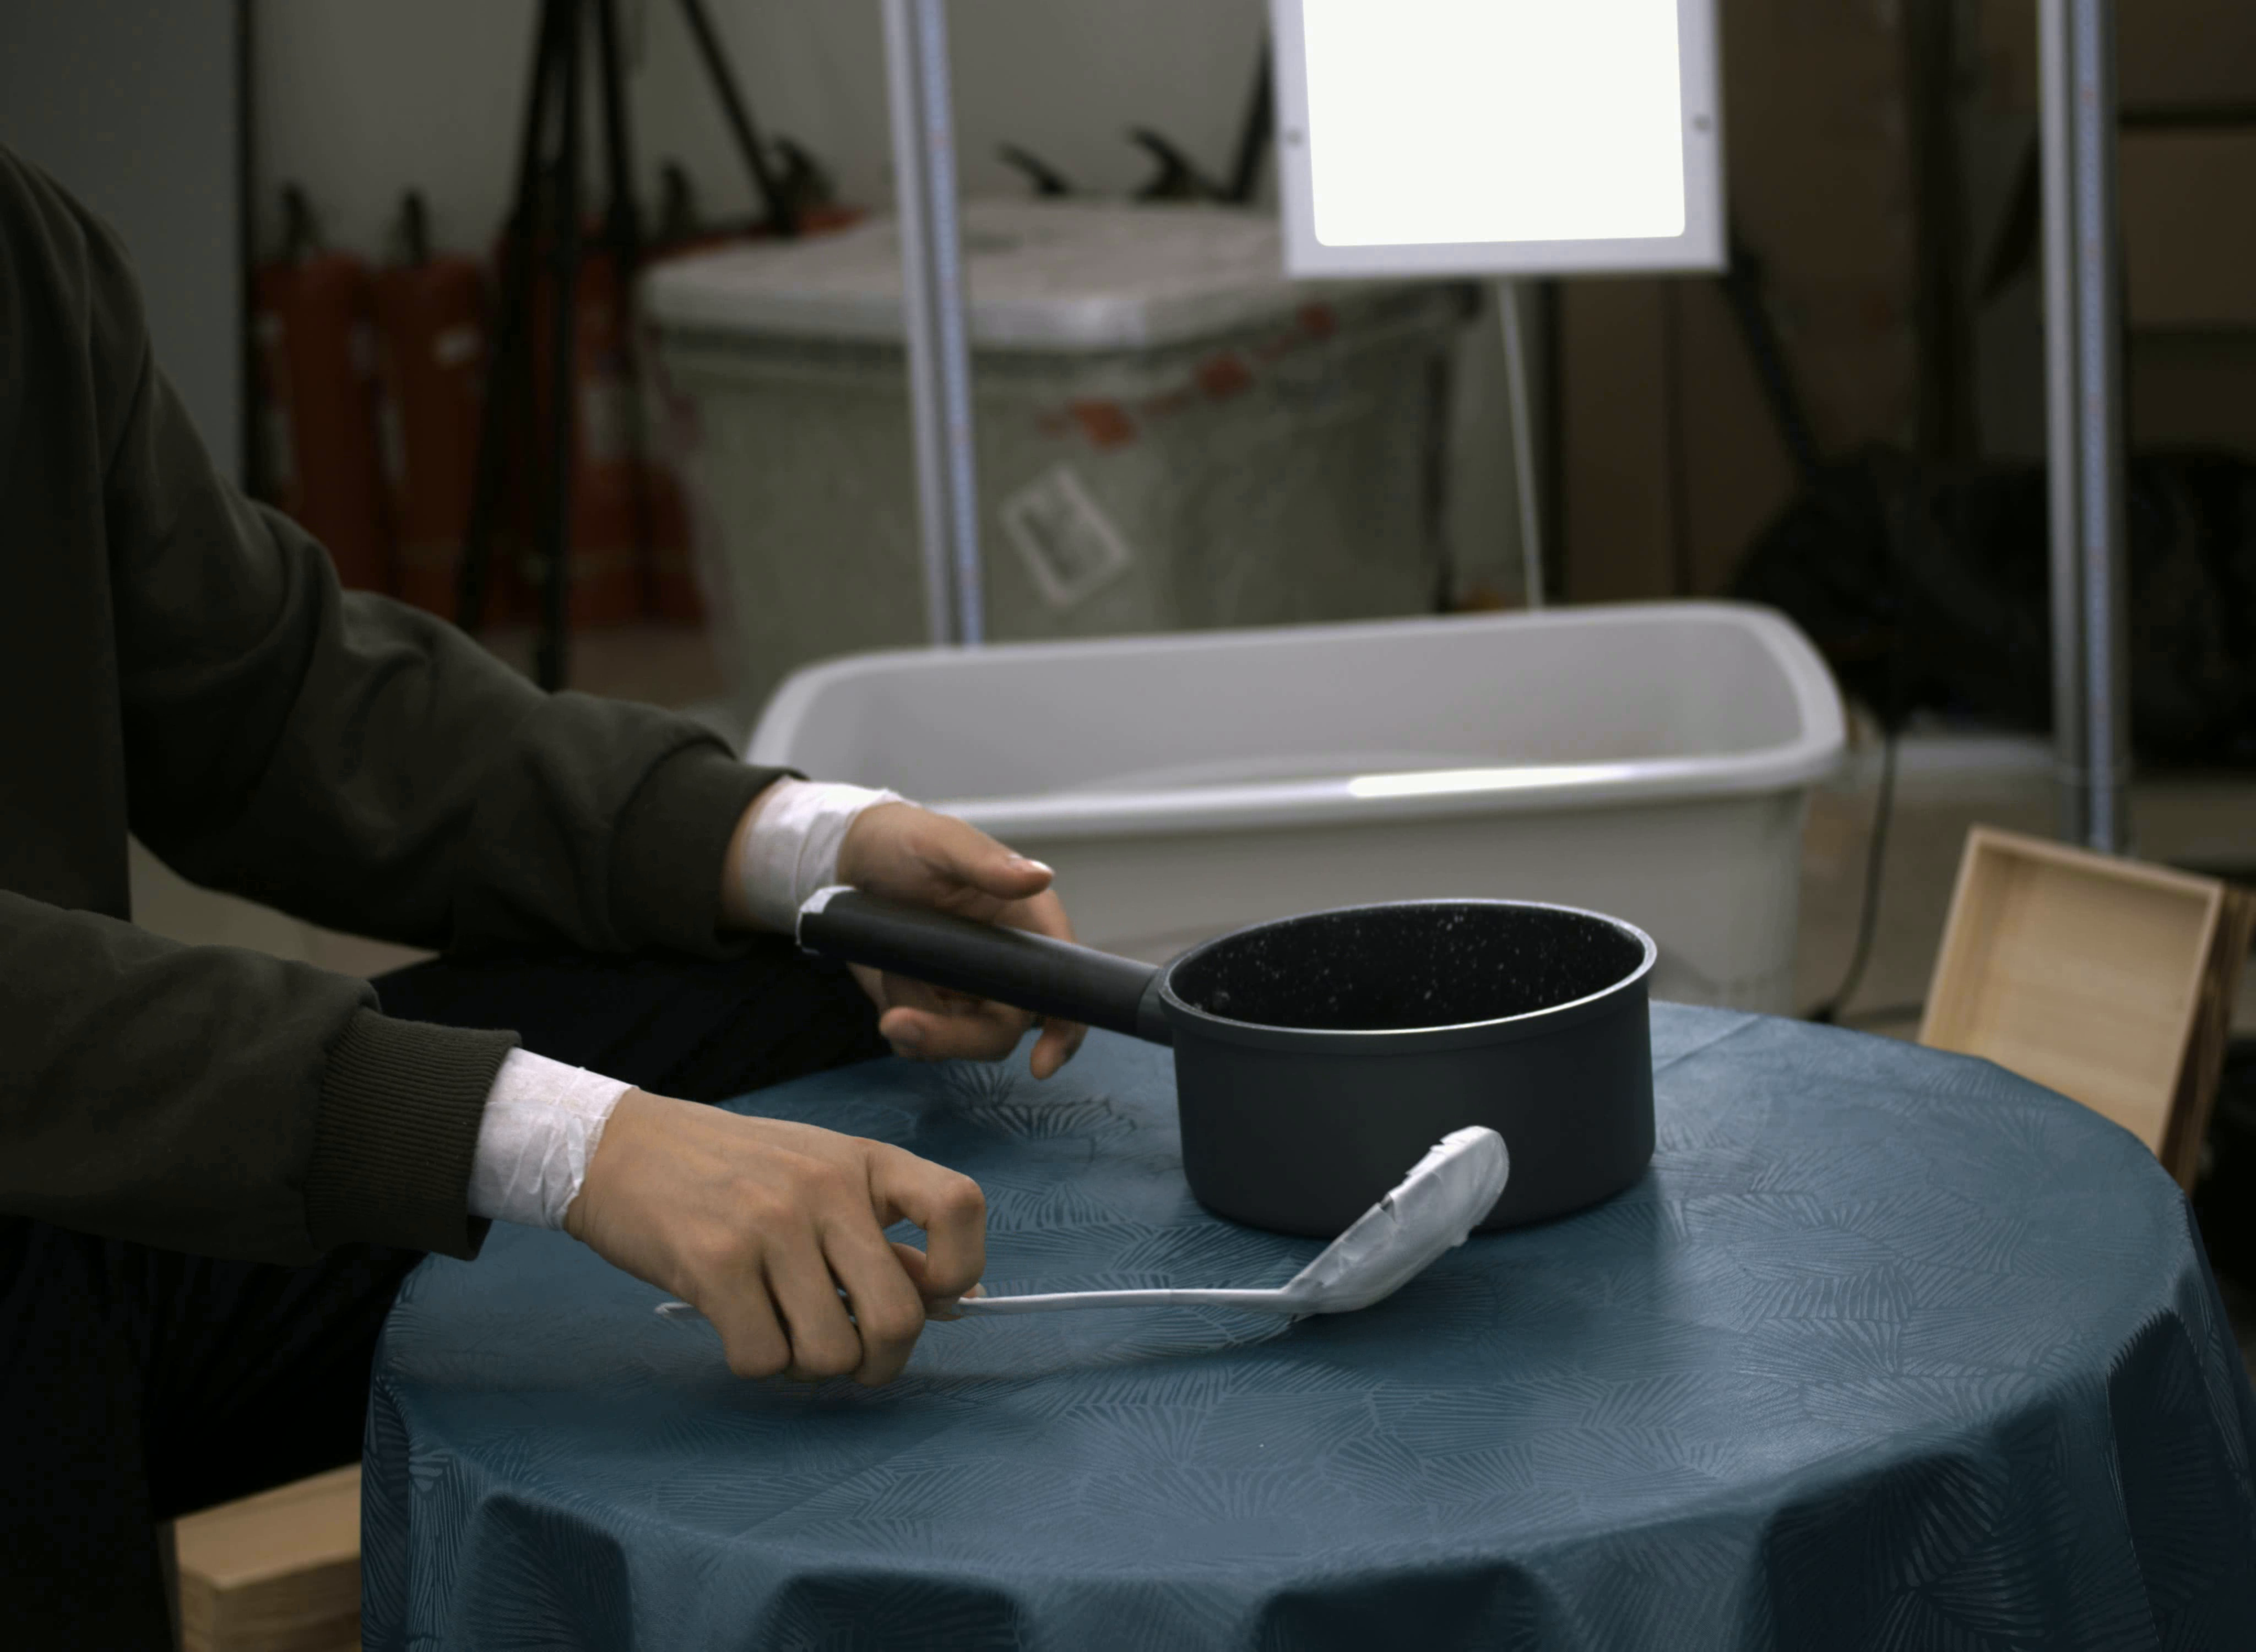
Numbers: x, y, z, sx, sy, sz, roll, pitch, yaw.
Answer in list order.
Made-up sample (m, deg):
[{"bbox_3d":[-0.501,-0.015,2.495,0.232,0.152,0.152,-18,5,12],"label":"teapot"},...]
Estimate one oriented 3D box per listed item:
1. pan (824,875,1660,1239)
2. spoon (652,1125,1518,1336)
[{"bbox_3d":[0.033,0.074,1.931,0.335,0.087,0.168,5,16,34],"label":"pan"},{"bbox_3d":[-0.012,0.129,1.746,0.276,0.059,0.101,-1,-20,-1],"label":"spoon"}]
